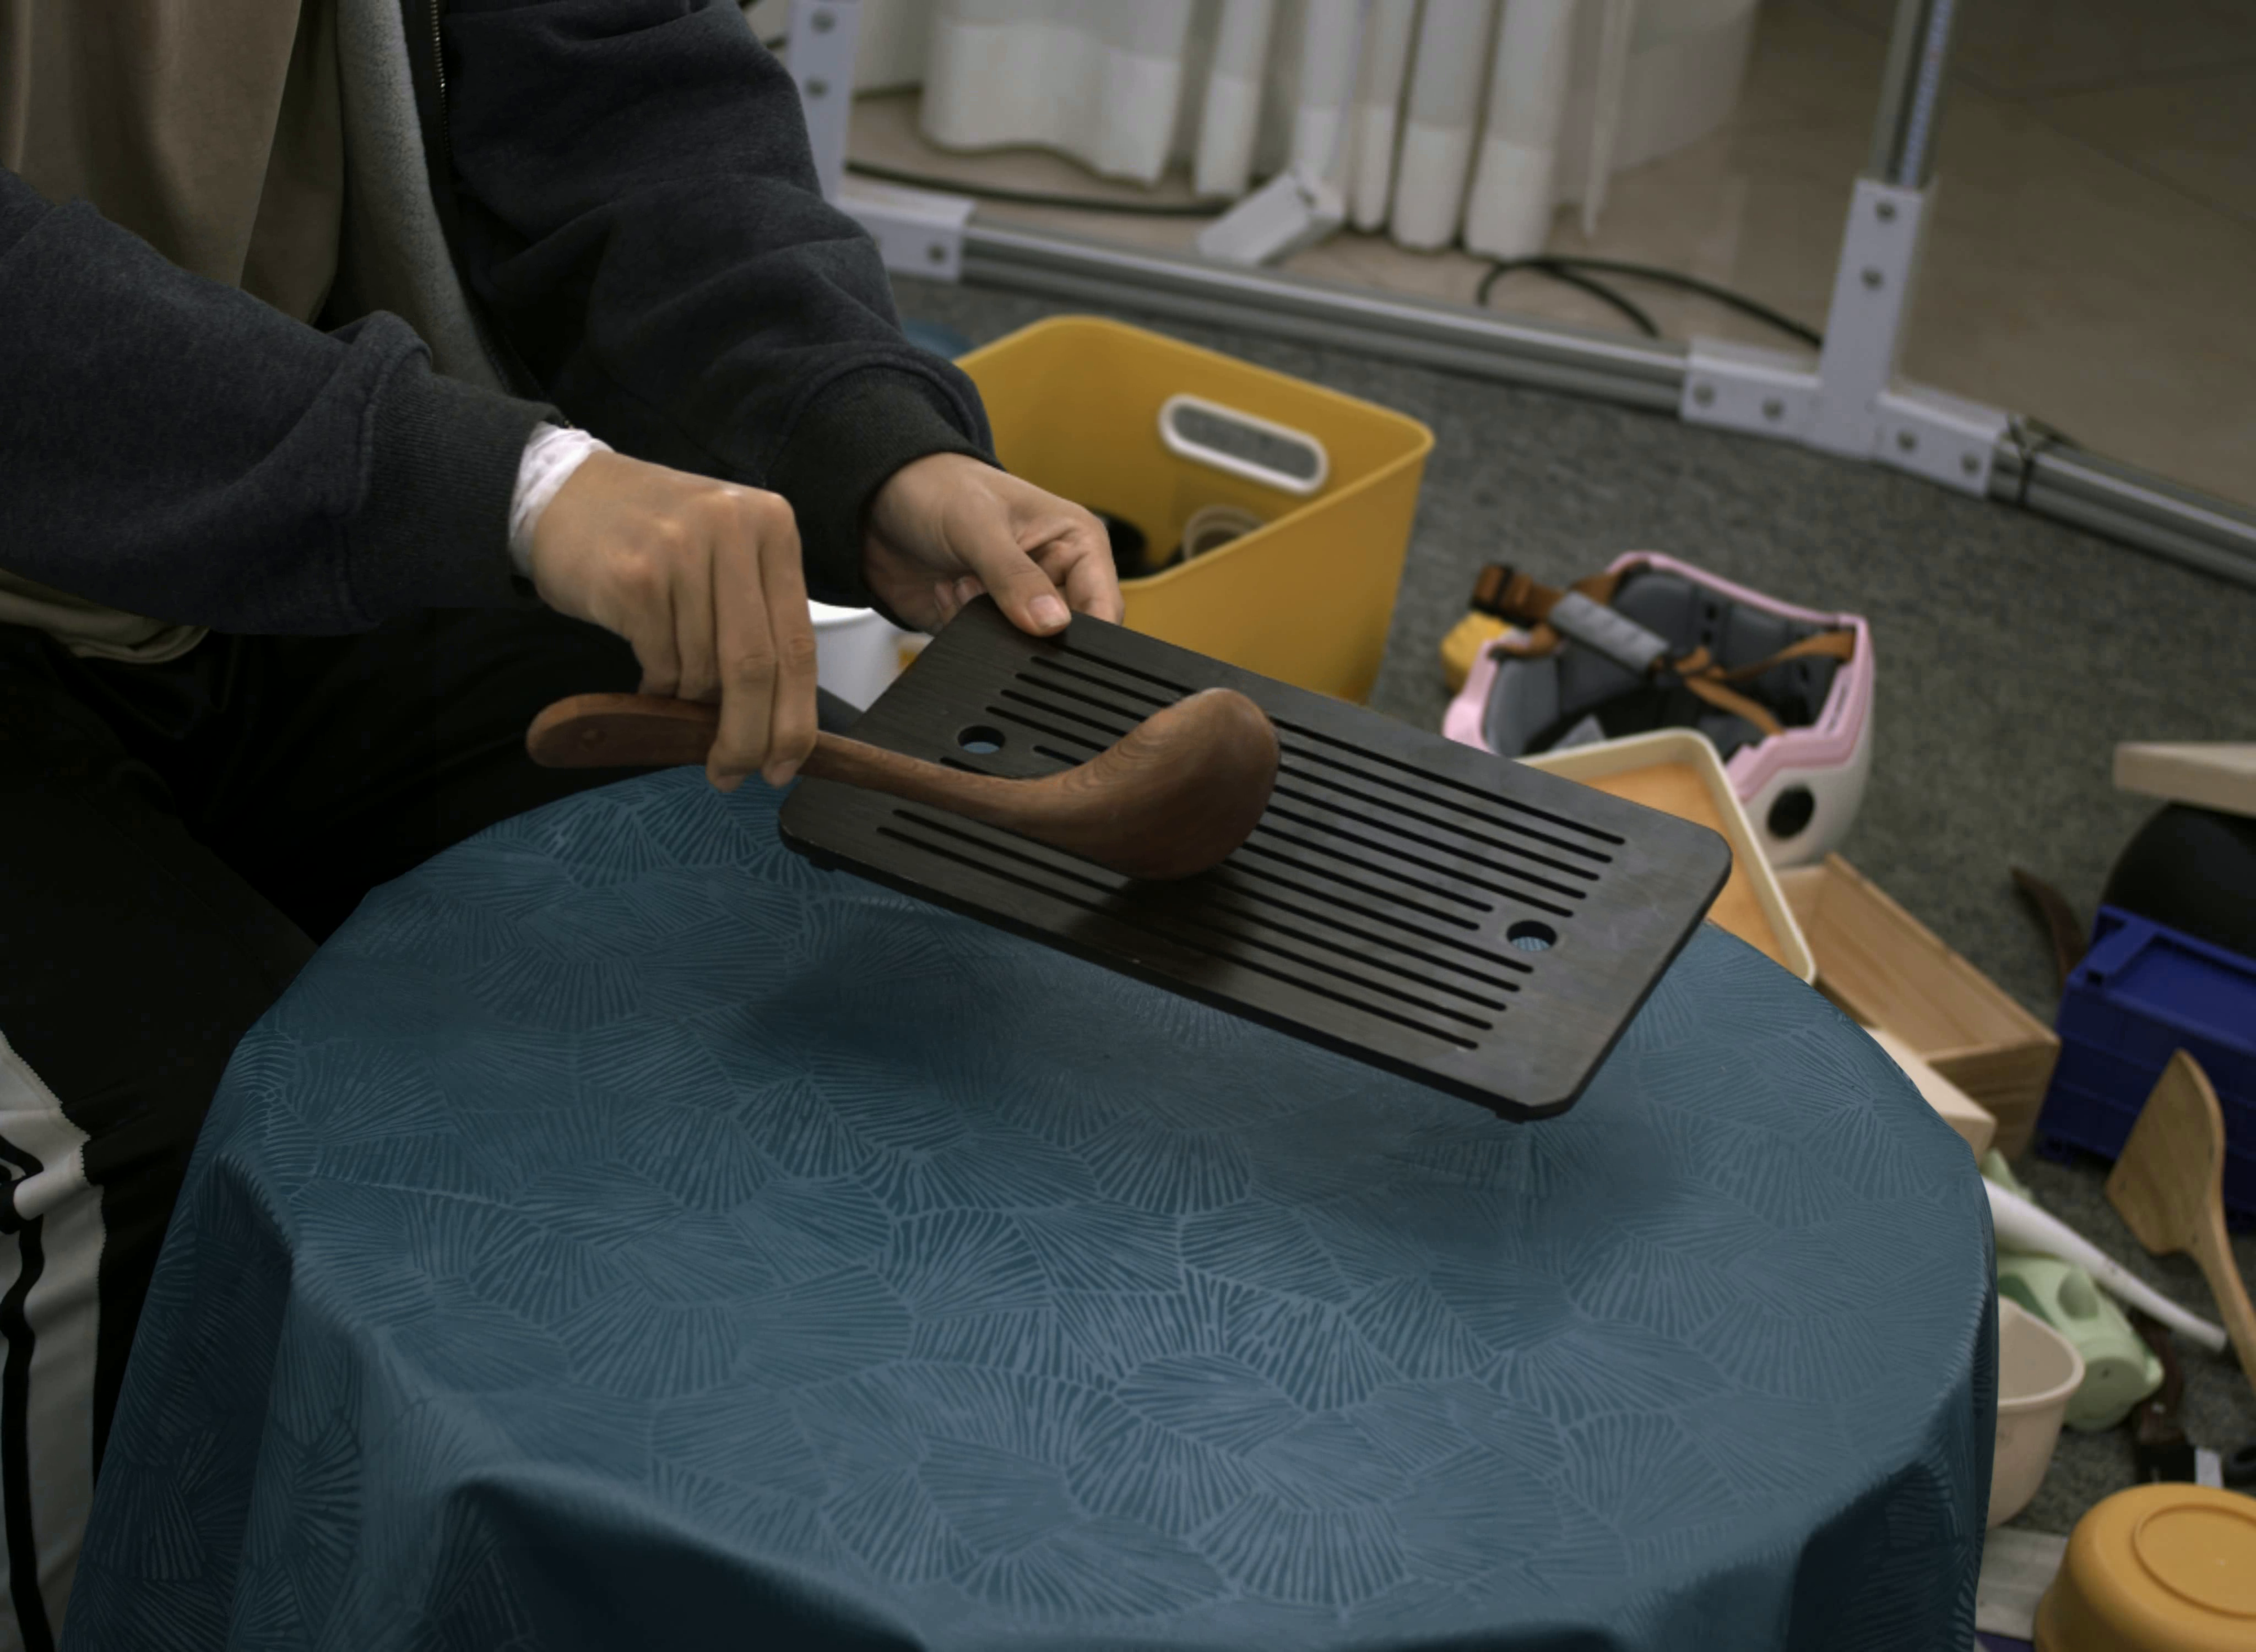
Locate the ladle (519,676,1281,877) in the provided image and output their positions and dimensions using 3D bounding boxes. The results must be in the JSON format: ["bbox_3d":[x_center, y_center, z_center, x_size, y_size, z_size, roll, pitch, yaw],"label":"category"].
[{"bbox_3d":[-0.076,-0.029,1.819,0.259,0.076,0.065,8,34,-4],"label":"ladle"}]

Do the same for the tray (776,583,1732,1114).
[{"bbox_3d":[0.044,0.006,1.874,0.307,0.018,0.170,20,41,20],"label":"tray"}]
